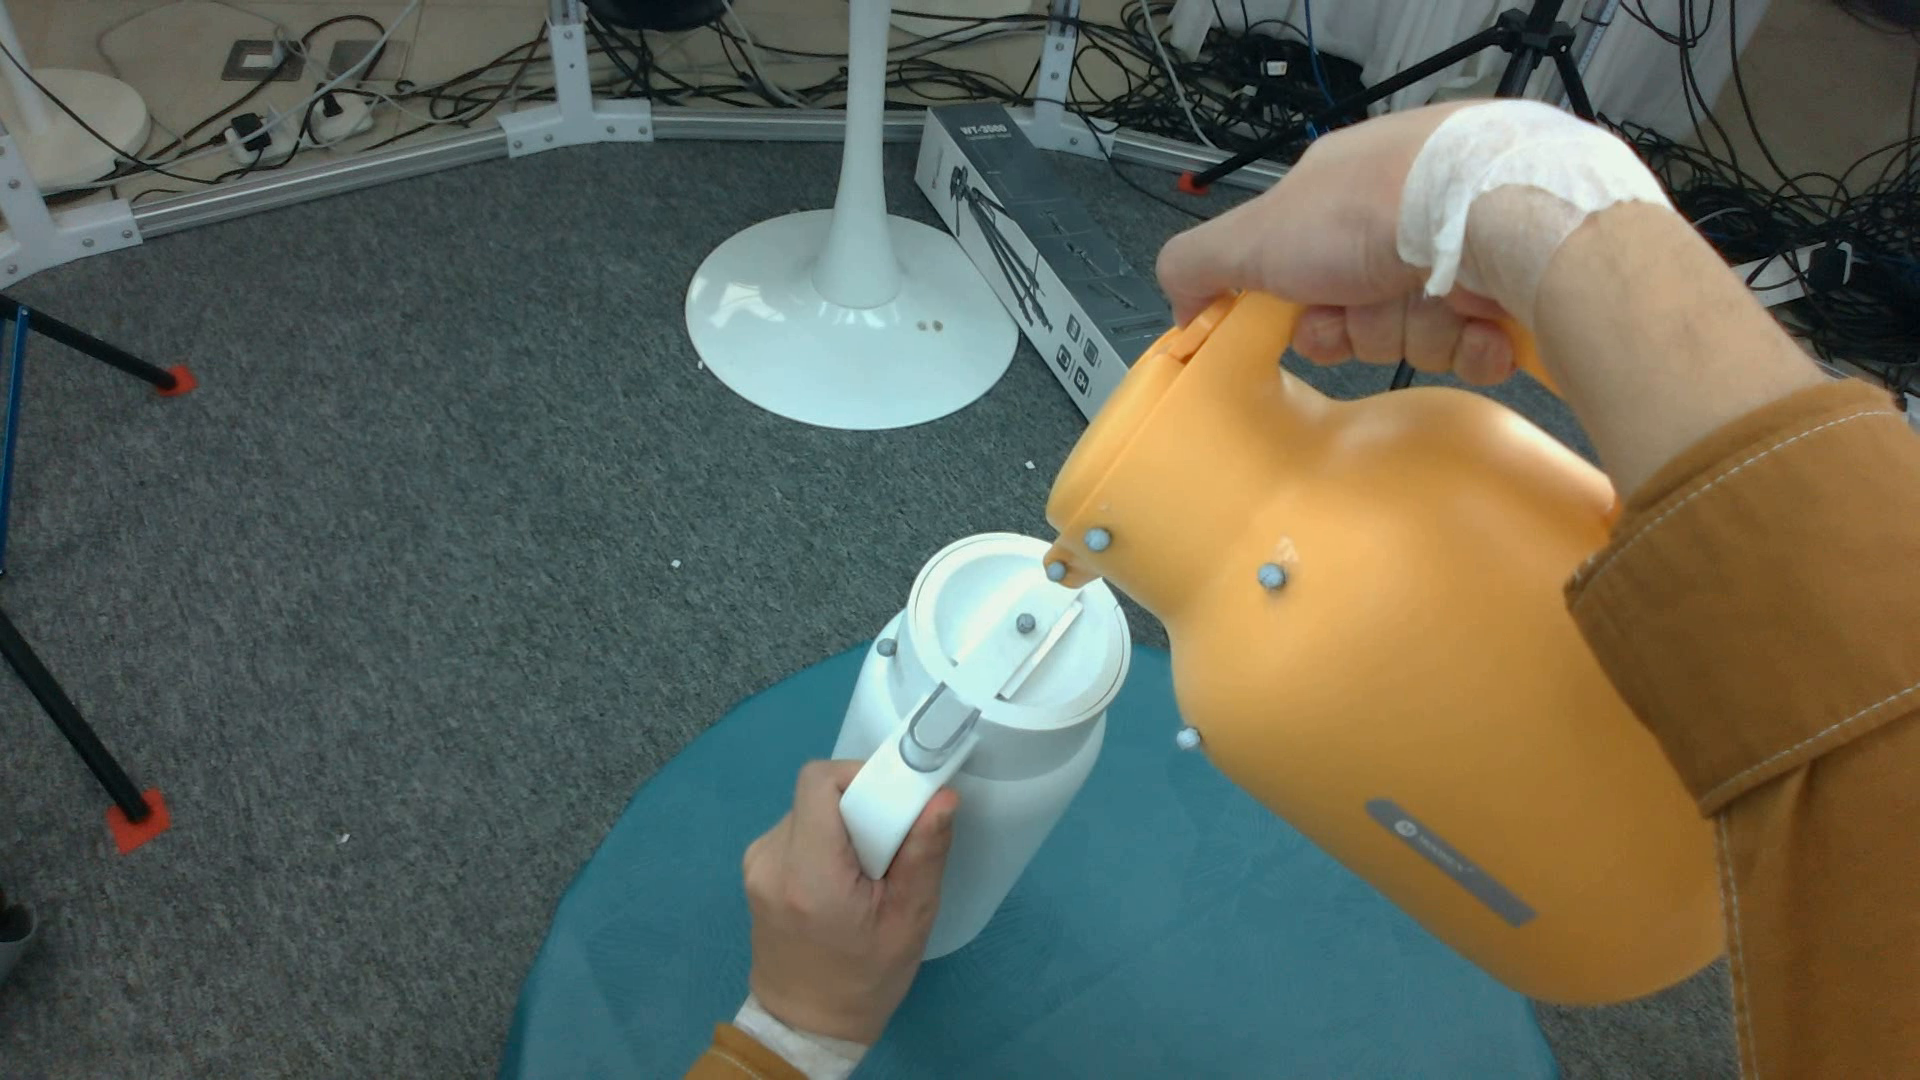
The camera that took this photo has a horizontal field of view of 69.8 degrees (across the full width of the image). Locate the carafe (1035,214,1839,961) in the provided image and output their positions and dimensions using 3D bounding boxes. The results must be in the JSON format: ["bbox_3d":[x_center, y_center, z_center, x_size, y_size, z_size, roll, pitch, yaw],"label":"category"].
[{"bbox_3d":[0.160,0.011,0.476,0.260,0.201,0.164,32,47,1],"label":"carafe"}]

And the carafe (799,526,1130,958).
[{"bbox_3d":[-0.013,0.120,0.674,0.124,0.267,0.173,36,53,8],"label":"carafe"}]
